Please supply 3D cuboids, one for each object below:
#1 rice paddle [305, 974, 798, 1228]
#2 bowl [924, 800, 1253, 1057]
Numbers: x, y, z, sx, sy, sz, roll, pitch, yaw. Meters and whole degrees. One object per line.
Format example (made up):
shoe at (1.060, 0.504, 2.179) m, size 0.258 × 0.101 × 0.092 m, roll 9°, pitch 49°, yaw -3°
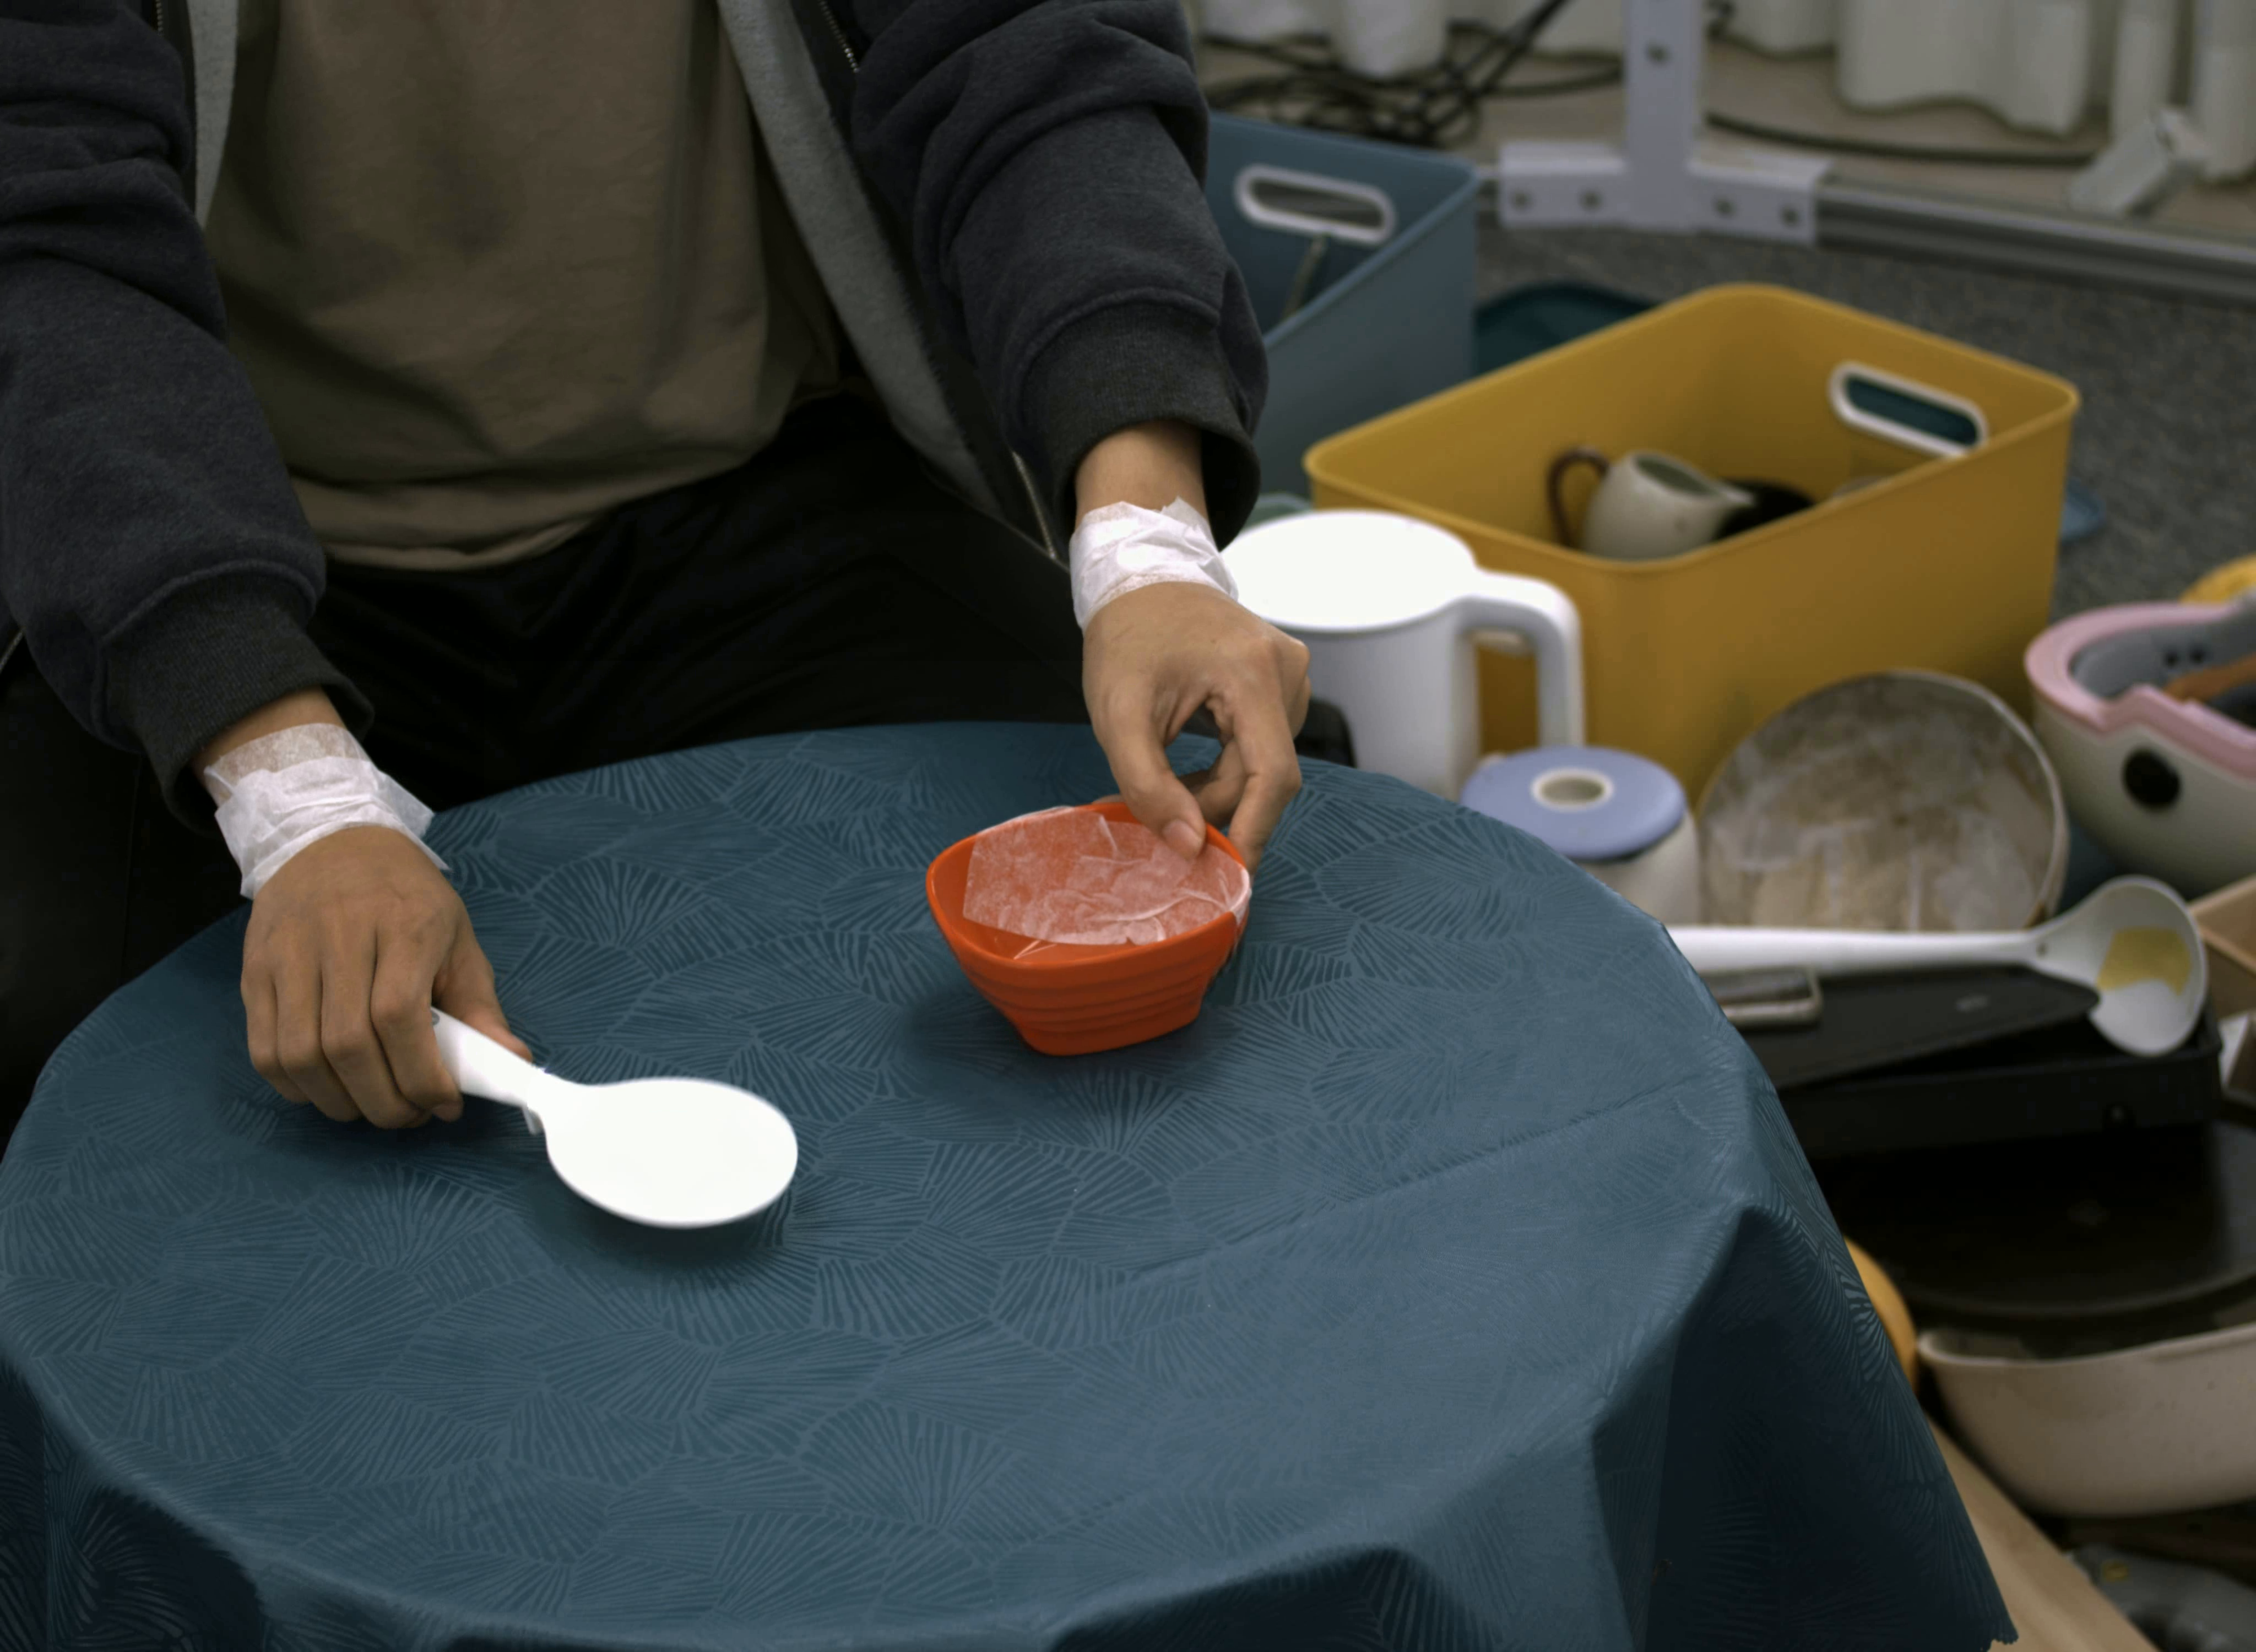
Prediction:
rice paddle at (-0.194, 0.092, 1.886) m, size 0.204 × 0.029 × 0.070 m, roll 19°, pitch 43°, yaw 34°
bowl at (-0.013, 0.040, 1.963) m, size 0.118 × 0.051 × 0.121 m, roll -3°, pitch 28°, yaw 2°
